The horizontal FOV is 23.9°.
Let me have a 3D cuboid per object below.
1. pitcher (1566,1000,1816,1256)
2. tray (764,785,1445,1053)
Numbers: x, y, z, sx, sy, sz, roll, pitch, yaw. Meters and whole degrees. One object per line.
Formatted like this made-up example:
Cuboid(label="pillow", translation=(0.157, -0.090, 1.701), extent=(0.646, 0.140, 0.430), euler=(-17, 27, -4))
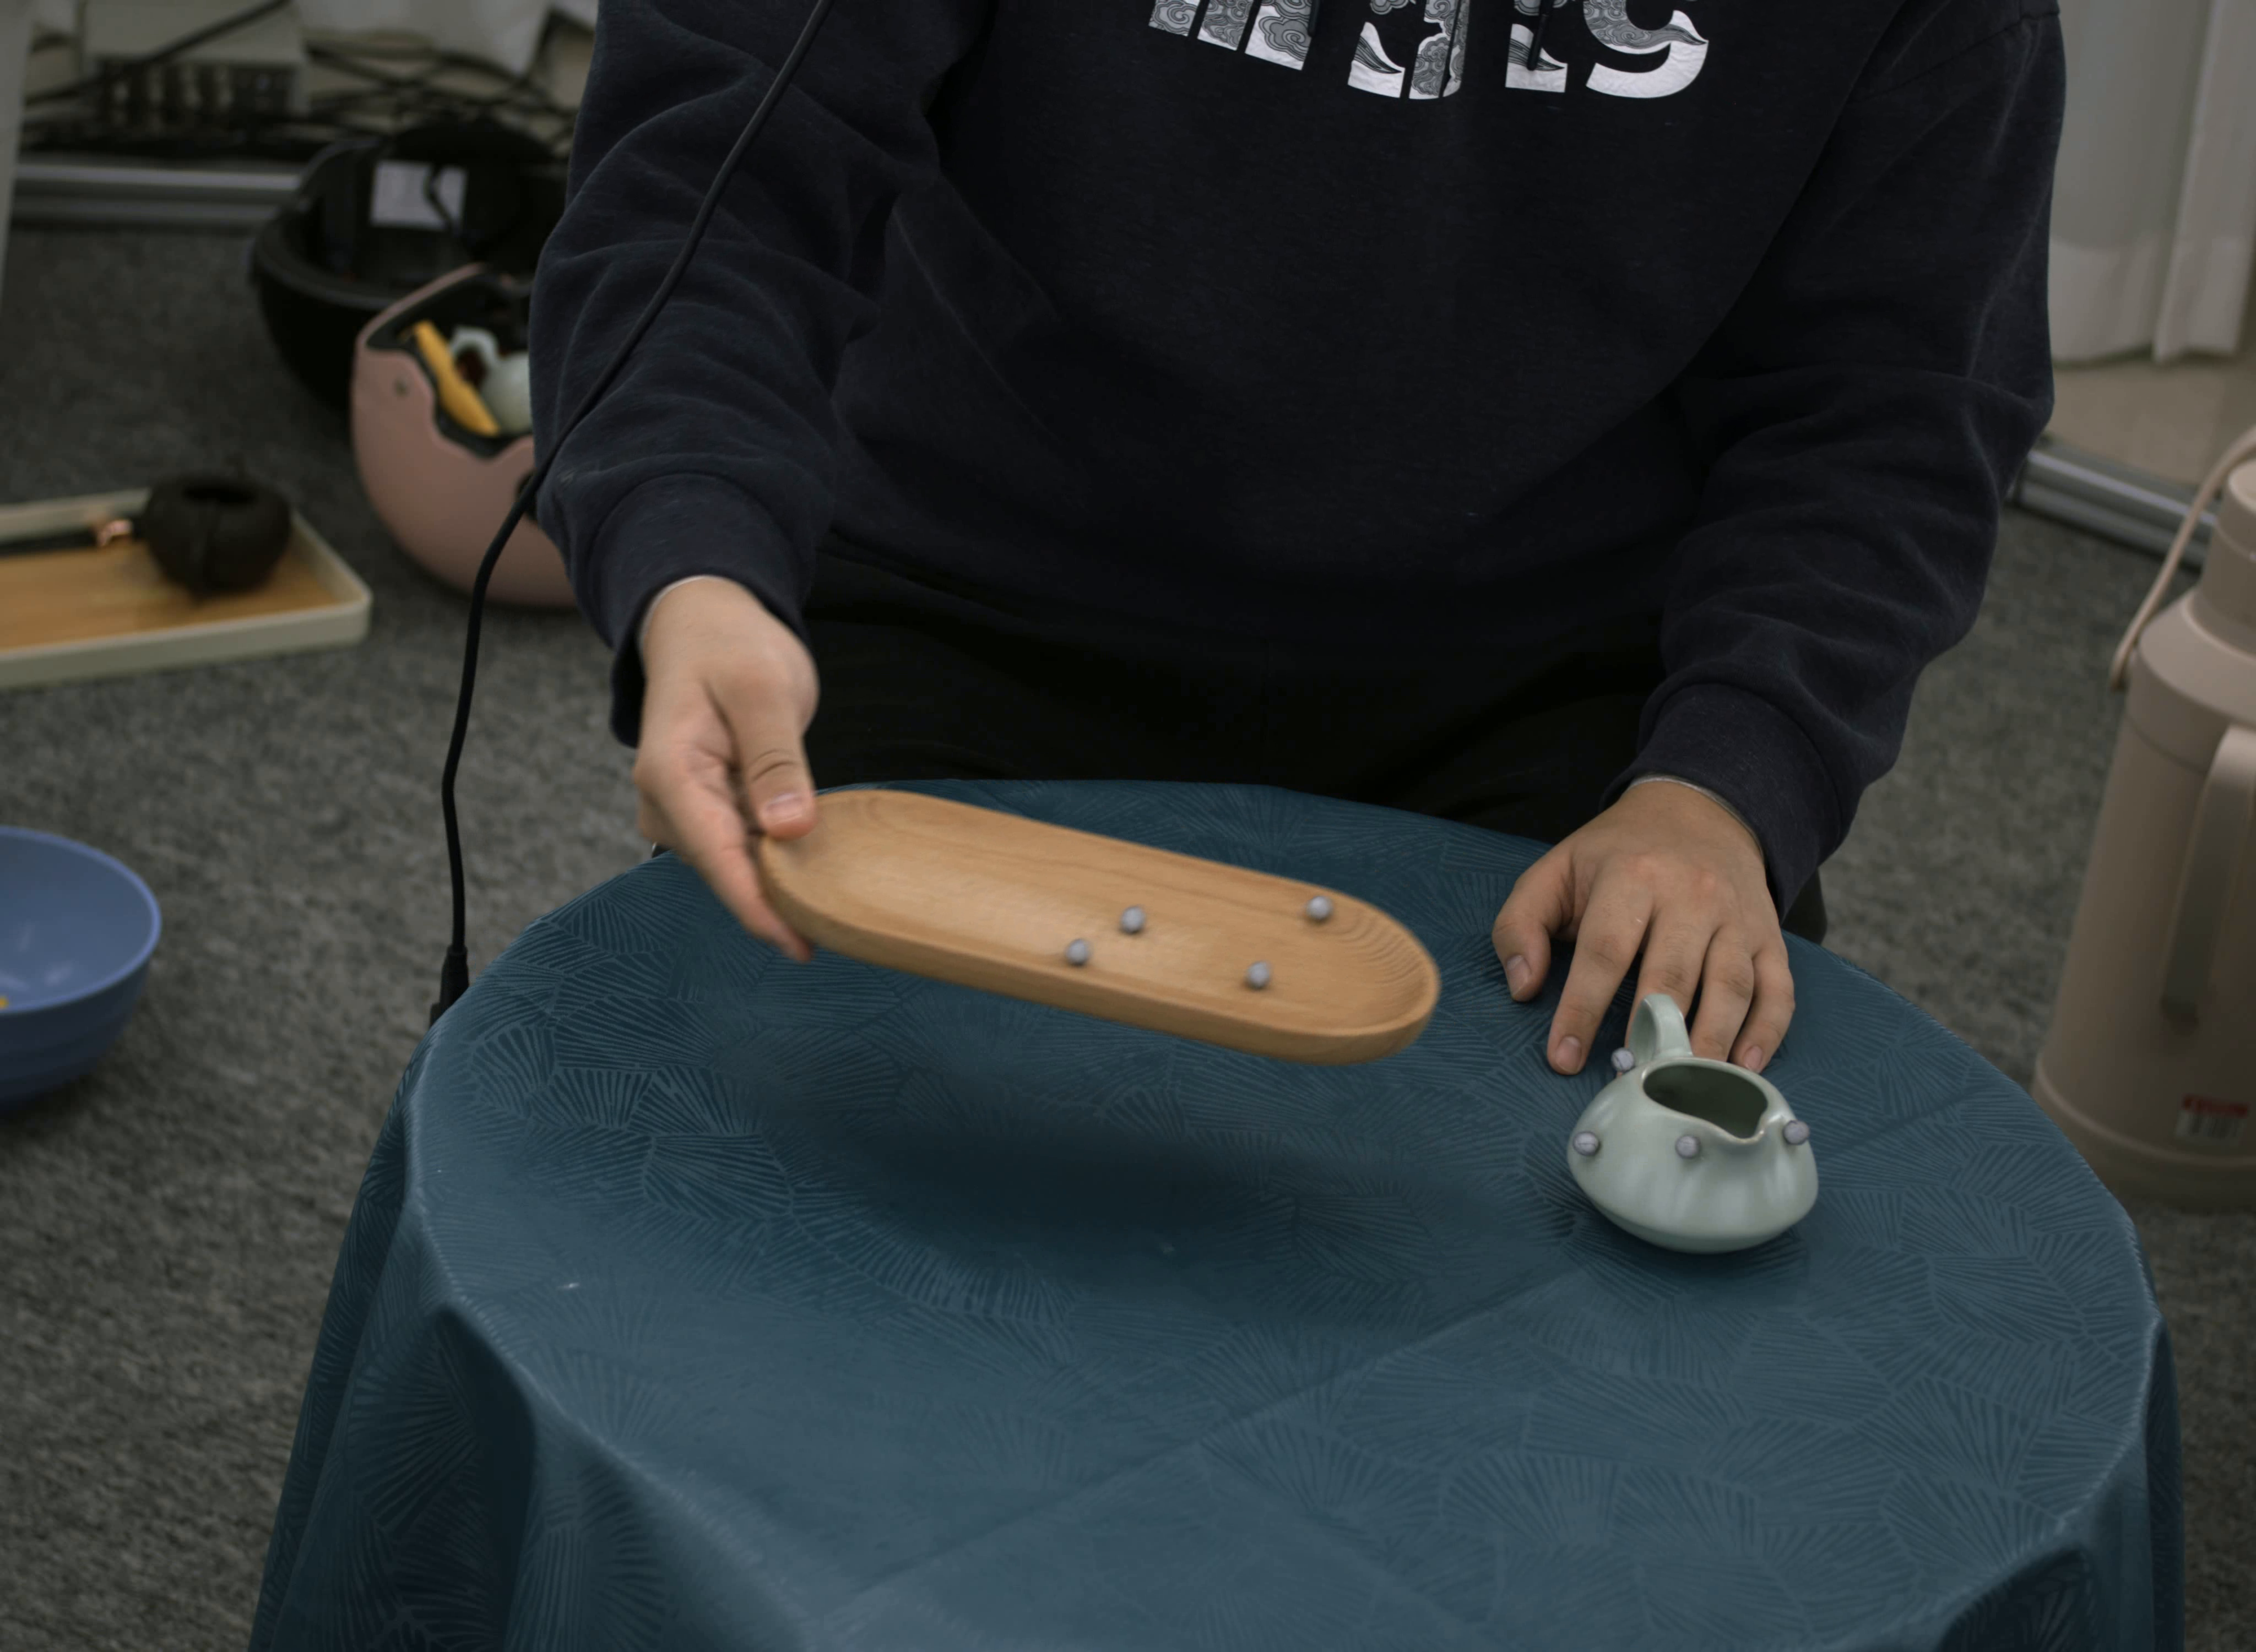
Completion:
Cuboid(label="pitcher", translation=(0.191, 0.105, 1.827), extent=(0.085, 0.060, 0.109), euler=(0, 25, -17))
Cuboid(label="tray", translation=(-0.008, 0.031, 1.775), extent=(0.231, 0.020, 0.102), euler=(11, 27, 3))
